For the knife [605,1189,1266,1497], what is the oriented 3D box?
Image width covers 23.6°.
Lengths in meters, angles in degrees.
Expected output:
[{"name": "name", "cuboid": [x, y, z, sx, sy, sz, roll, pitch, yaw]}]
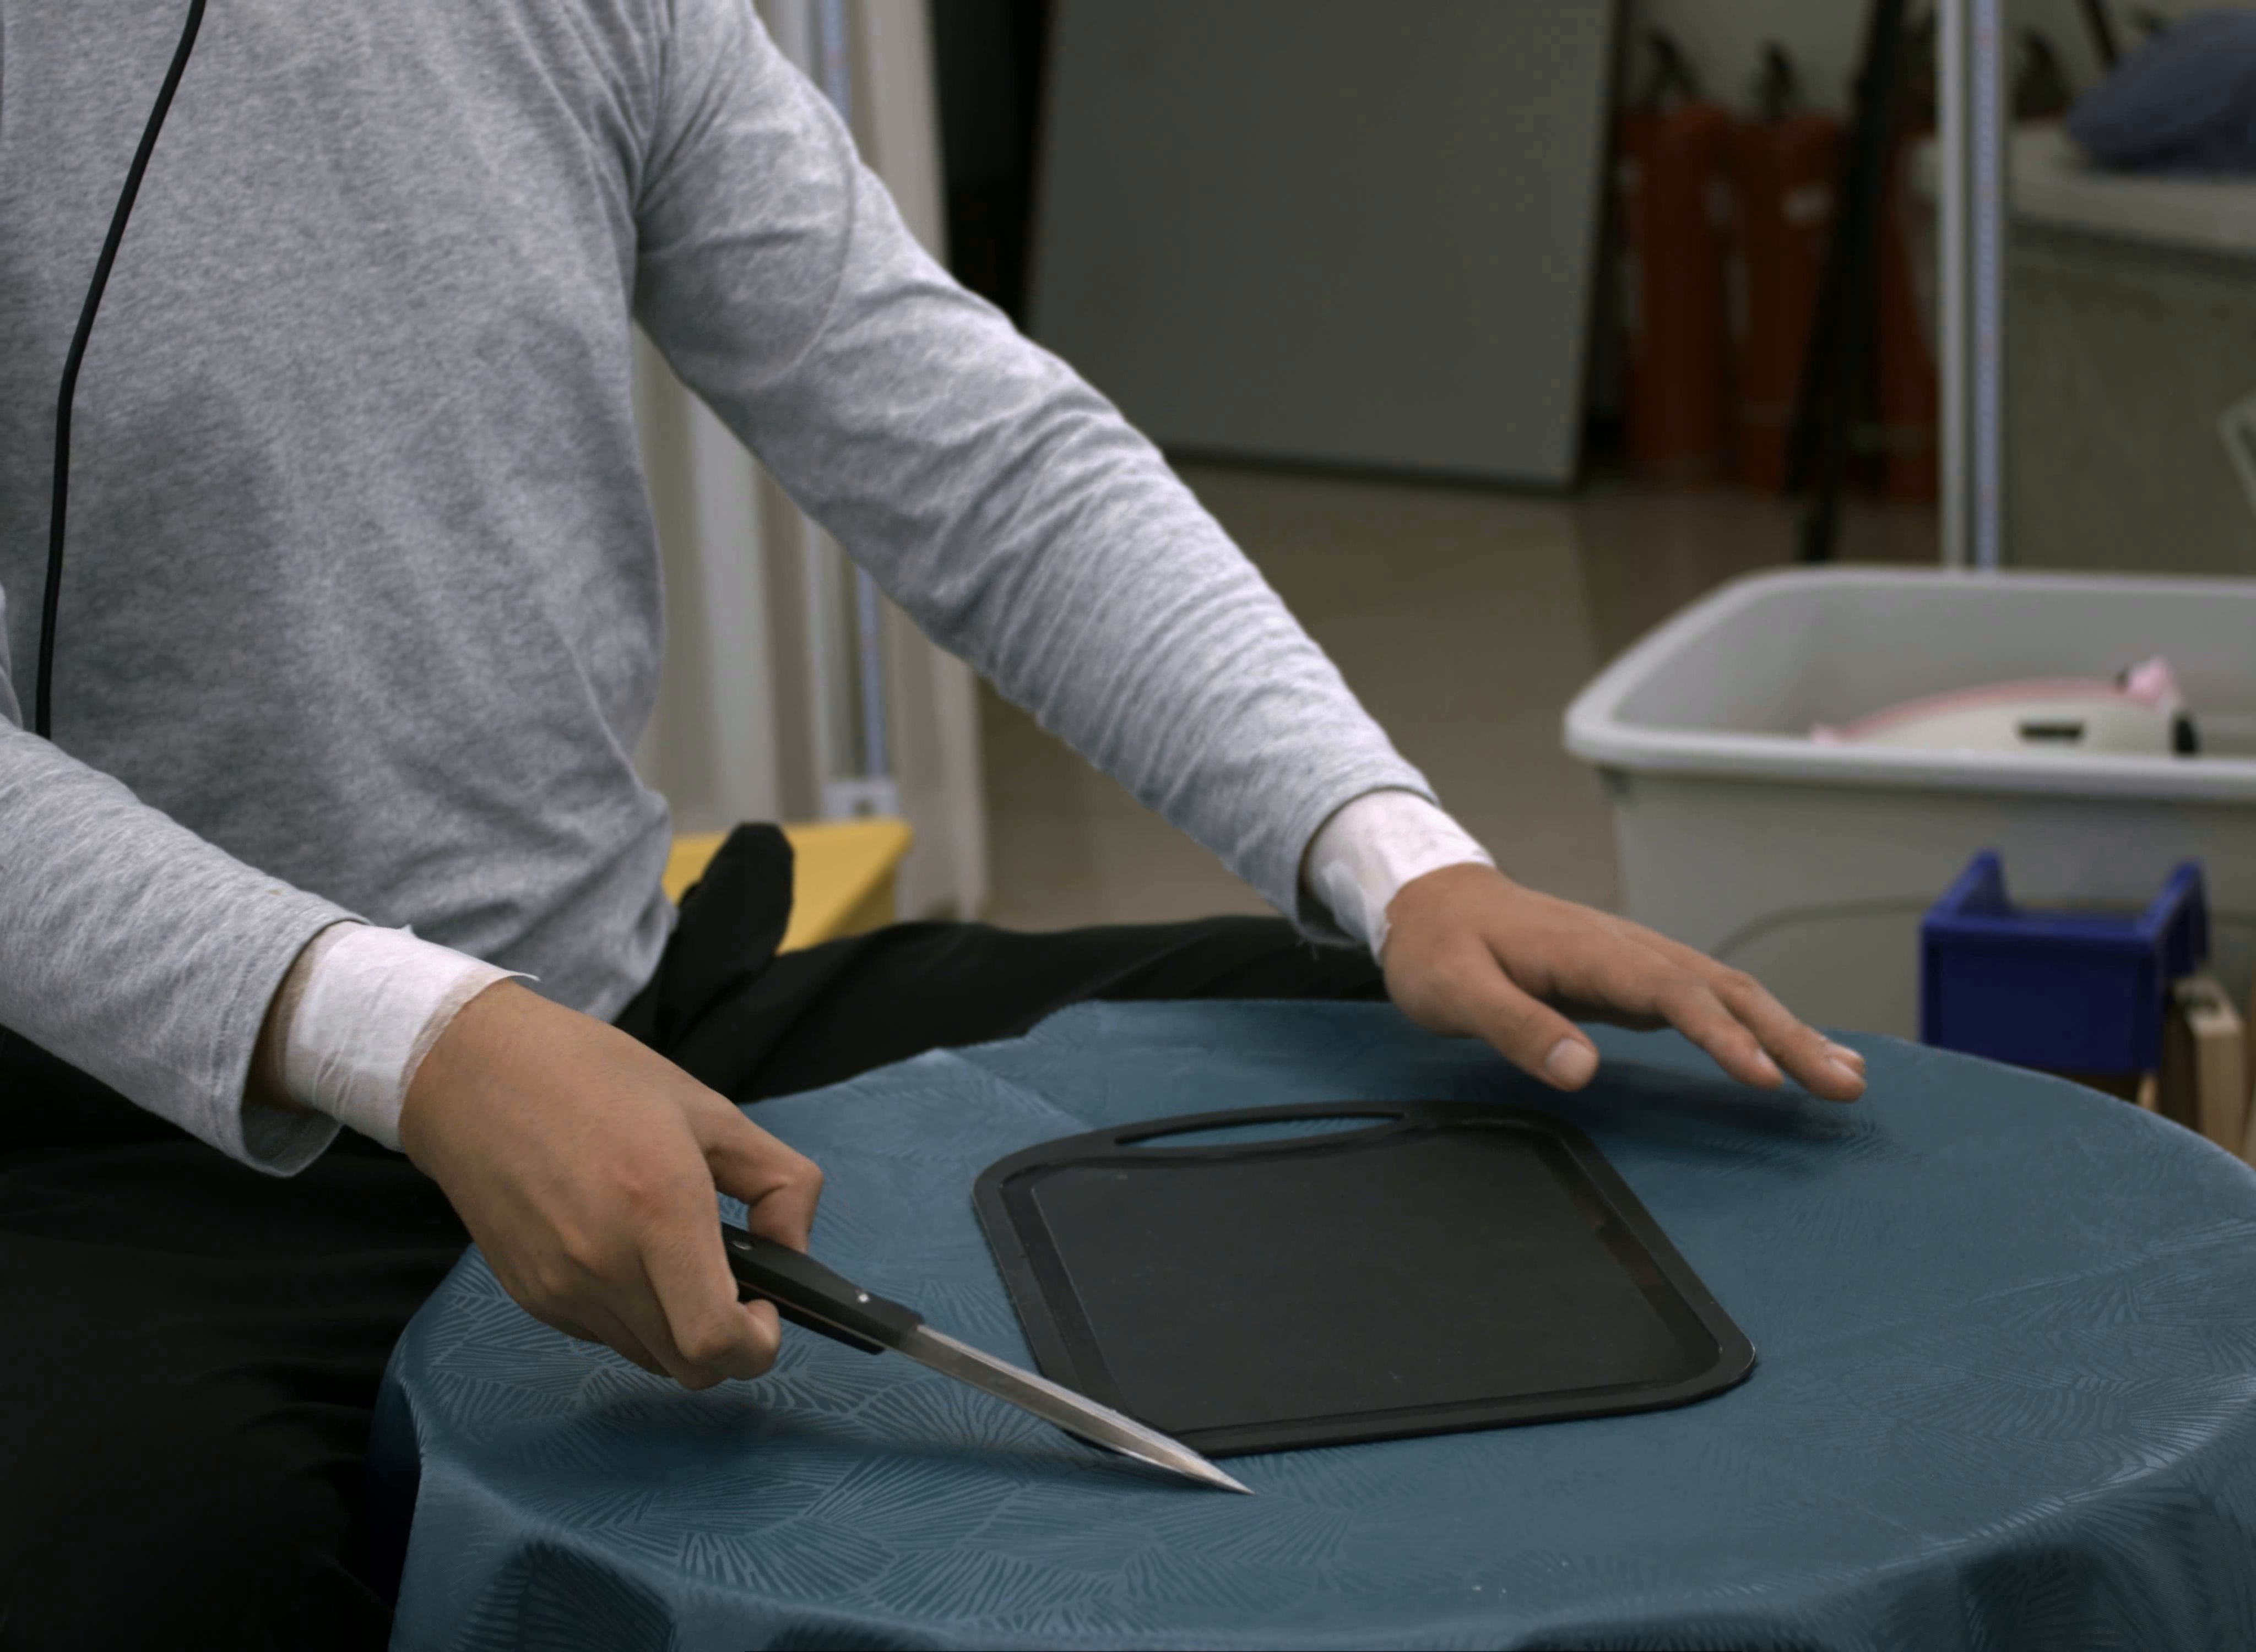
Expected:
[{"name": "knife", "cuboid": [-0.060, 0.151, 1.557, 0.239, 0.016, 0.024, 20, 23, 30]}]

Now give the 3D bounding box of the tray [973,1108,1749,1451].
[{"name": "tray", "cuboid": [0.064, 0.135, 1.688, 0.208, 0.010, 0.327, -5, 13, -6]}]
